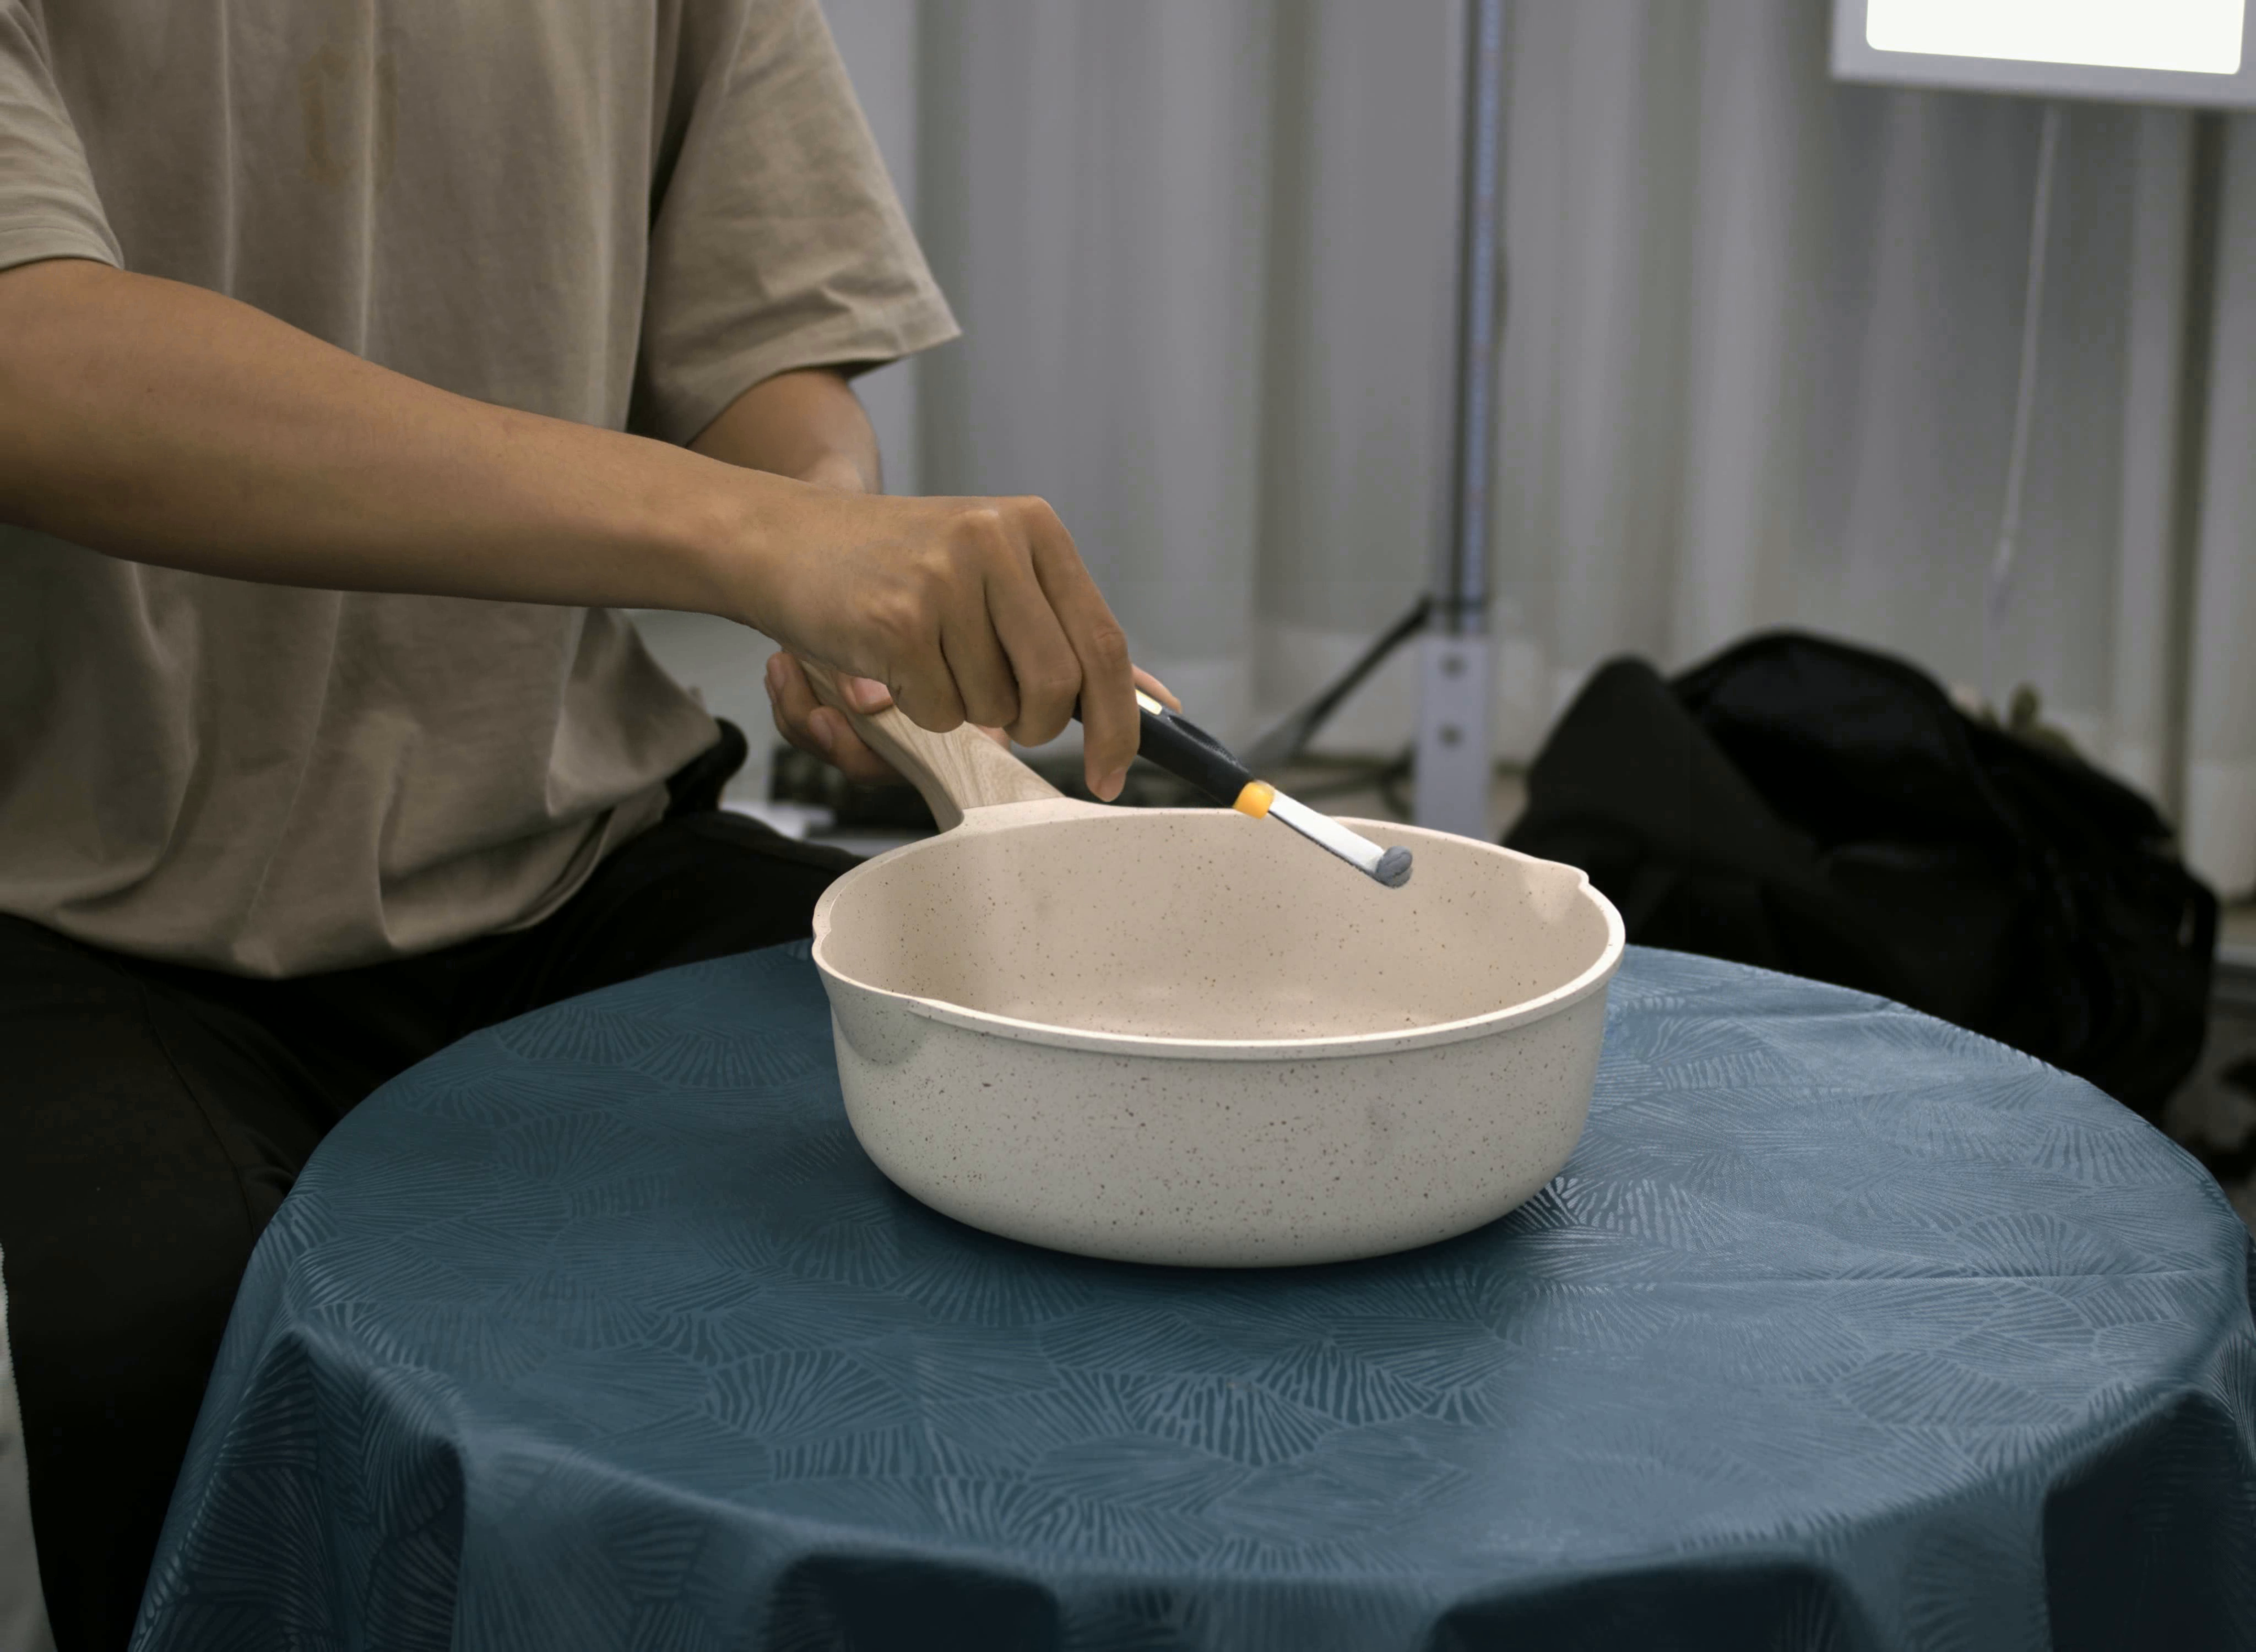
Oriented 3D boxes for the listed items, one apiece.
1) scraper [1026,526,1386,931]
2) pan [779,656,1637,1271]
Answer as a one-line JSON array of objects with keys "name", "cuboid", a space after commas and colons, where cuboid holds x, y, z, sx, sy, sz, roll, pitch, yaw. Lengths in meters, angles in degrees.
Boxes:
[{"name": "scraper", "cuboid": [0.025, -0.030, 1.627, 0.015, 0.173, 0.038, -38, 25, 11]}, {"name": "pan", "cuboid": [-0.010, 0.039, 1.714, 0.264, 0.103, 0.429, -10, 19, -26]}]
